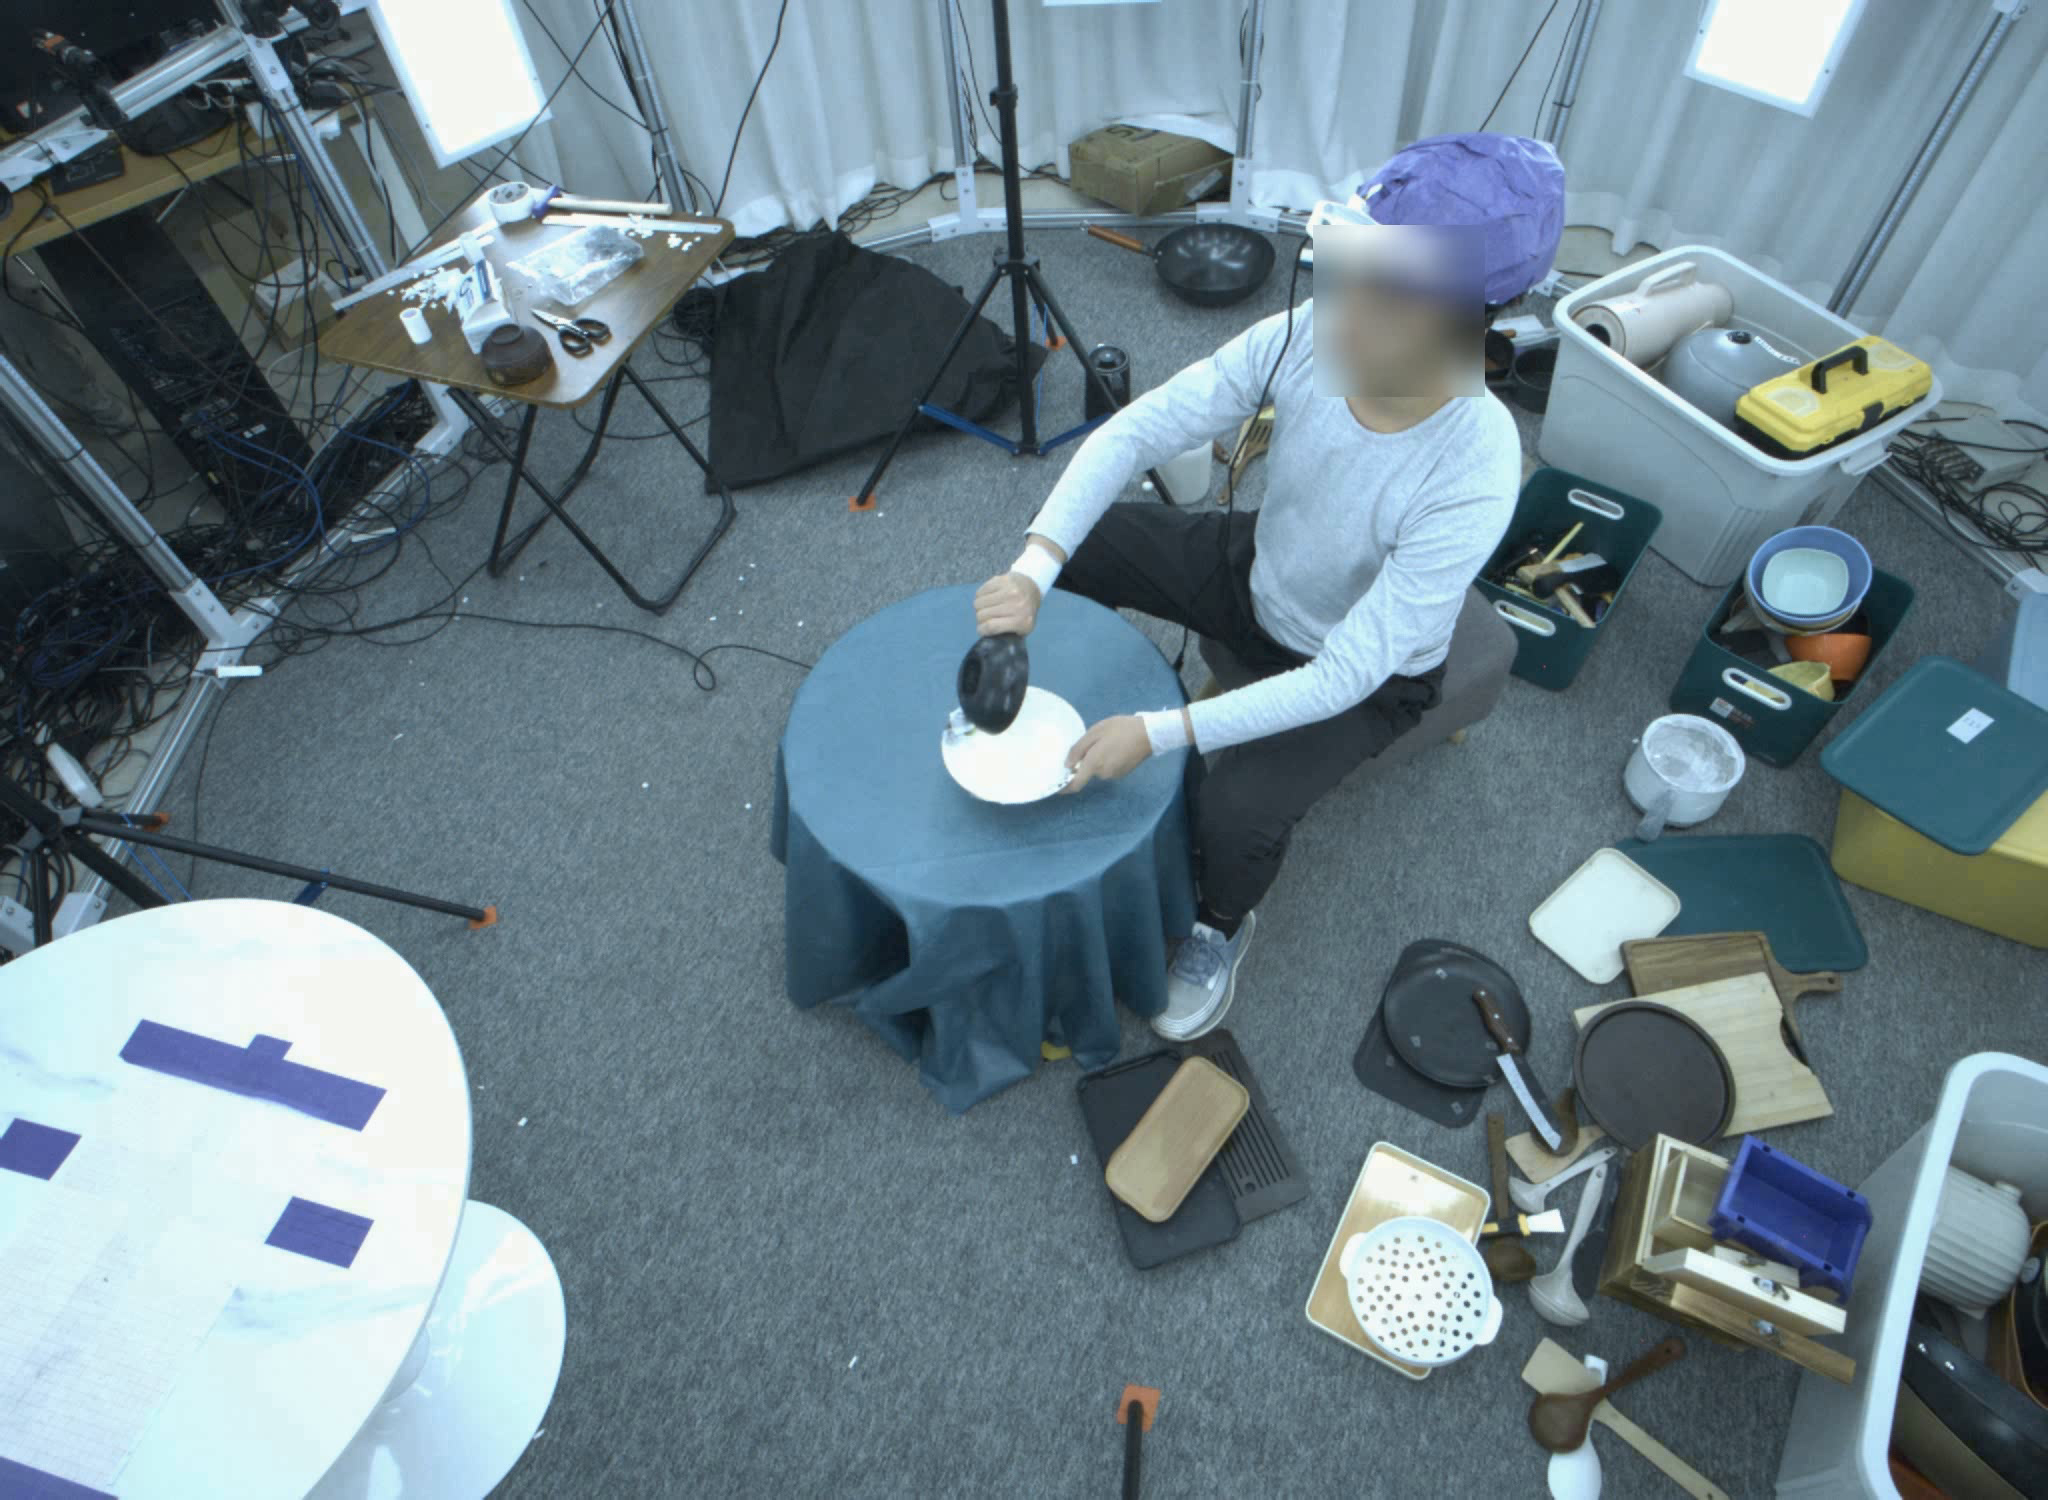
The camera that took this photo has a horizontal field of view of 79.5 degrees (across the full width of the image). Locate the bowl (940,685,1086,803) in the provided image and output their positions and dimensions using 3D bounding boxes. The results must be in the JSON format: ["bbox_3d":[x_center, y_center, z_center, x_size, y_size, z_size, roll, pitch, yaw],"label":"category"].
[{"bbox_3d":[-0.014,0.008,1.740,0.204,0.078,0.202,1,55,0],"label":"bowl"}]

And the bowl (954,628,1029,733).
[{"bbox_3d":[-0.053,-0.094,1.602,0.051,0.139,0.137,8,46,-36],"label":"bowl"}]
